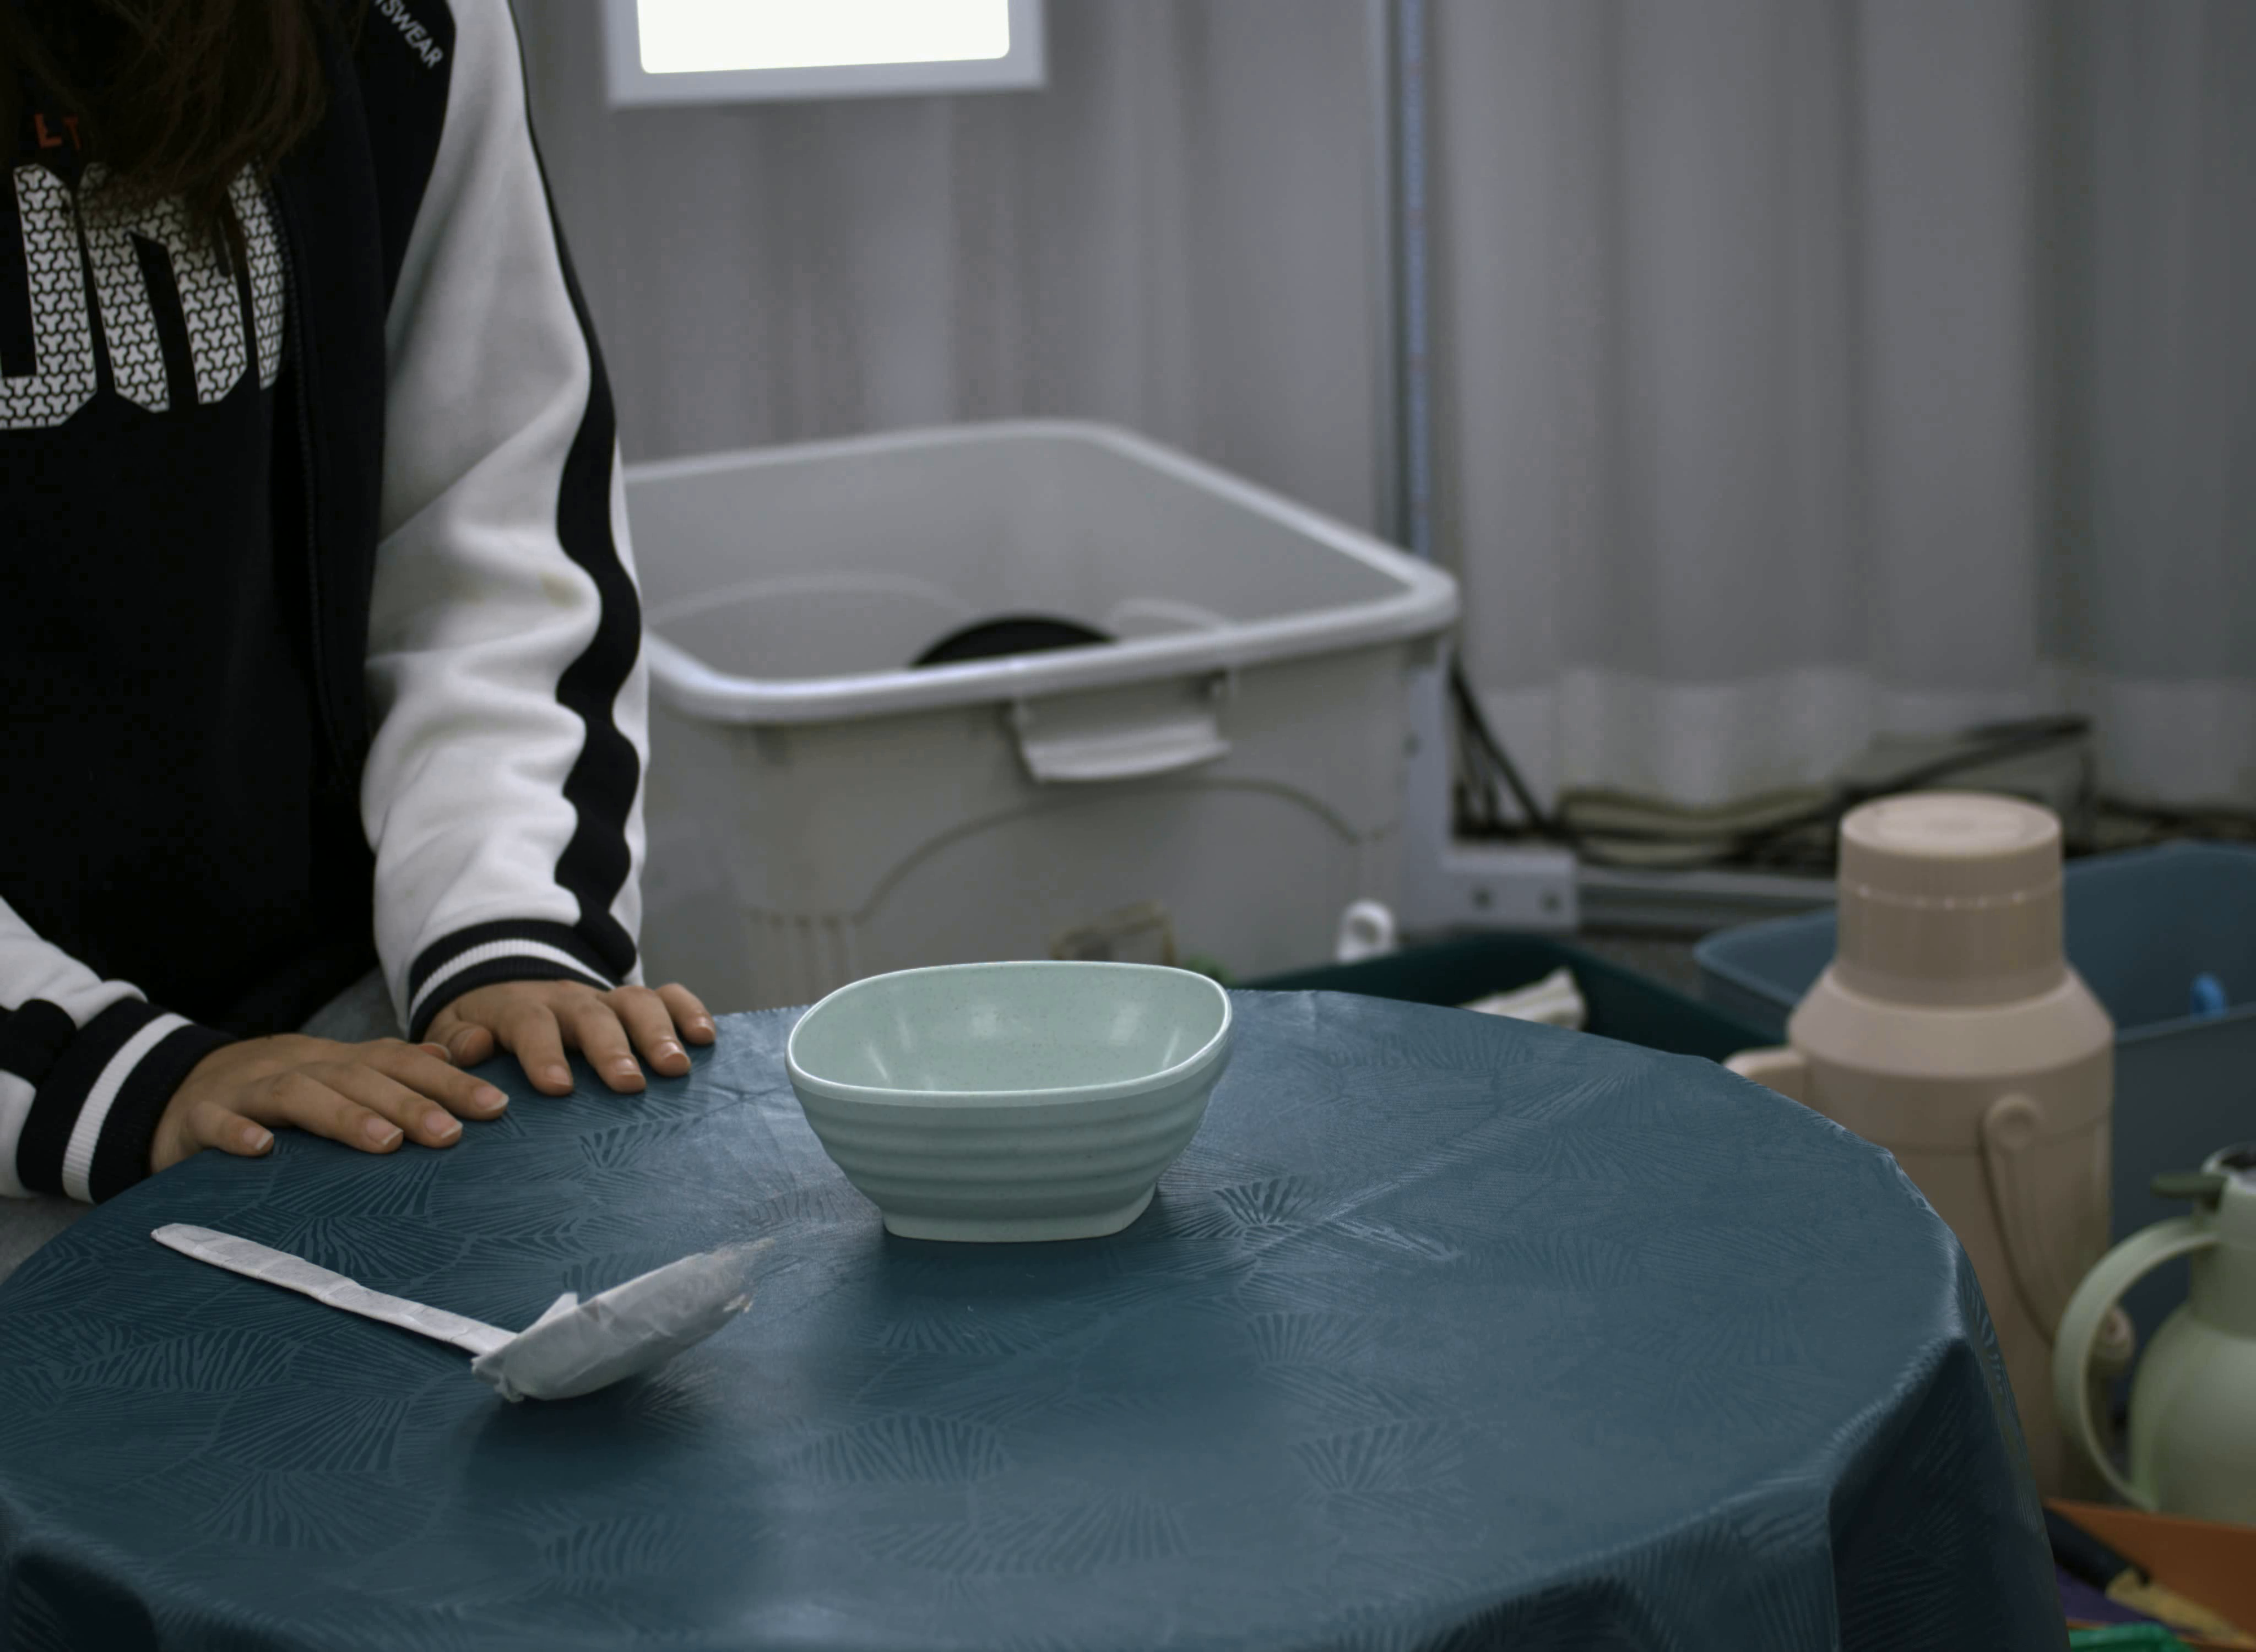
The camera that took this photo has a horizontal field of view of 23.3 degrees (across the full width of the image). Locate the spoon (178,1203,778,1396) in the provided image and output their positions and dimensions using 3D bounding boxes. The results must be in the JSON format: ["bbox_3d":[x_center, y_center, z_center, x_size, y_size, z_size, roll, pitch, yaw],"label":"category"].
[{"bbox_3d":[-0.204,0.120,1.623,0.100,0.059,0.279,-9,15,-39],"label":"spoon"}]

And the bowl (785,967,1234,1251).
[{"bbox_3d":[-0.035,0.091,1.707,0.151,0.058,0.152,-3,15,0],"label":"bowl"}]
